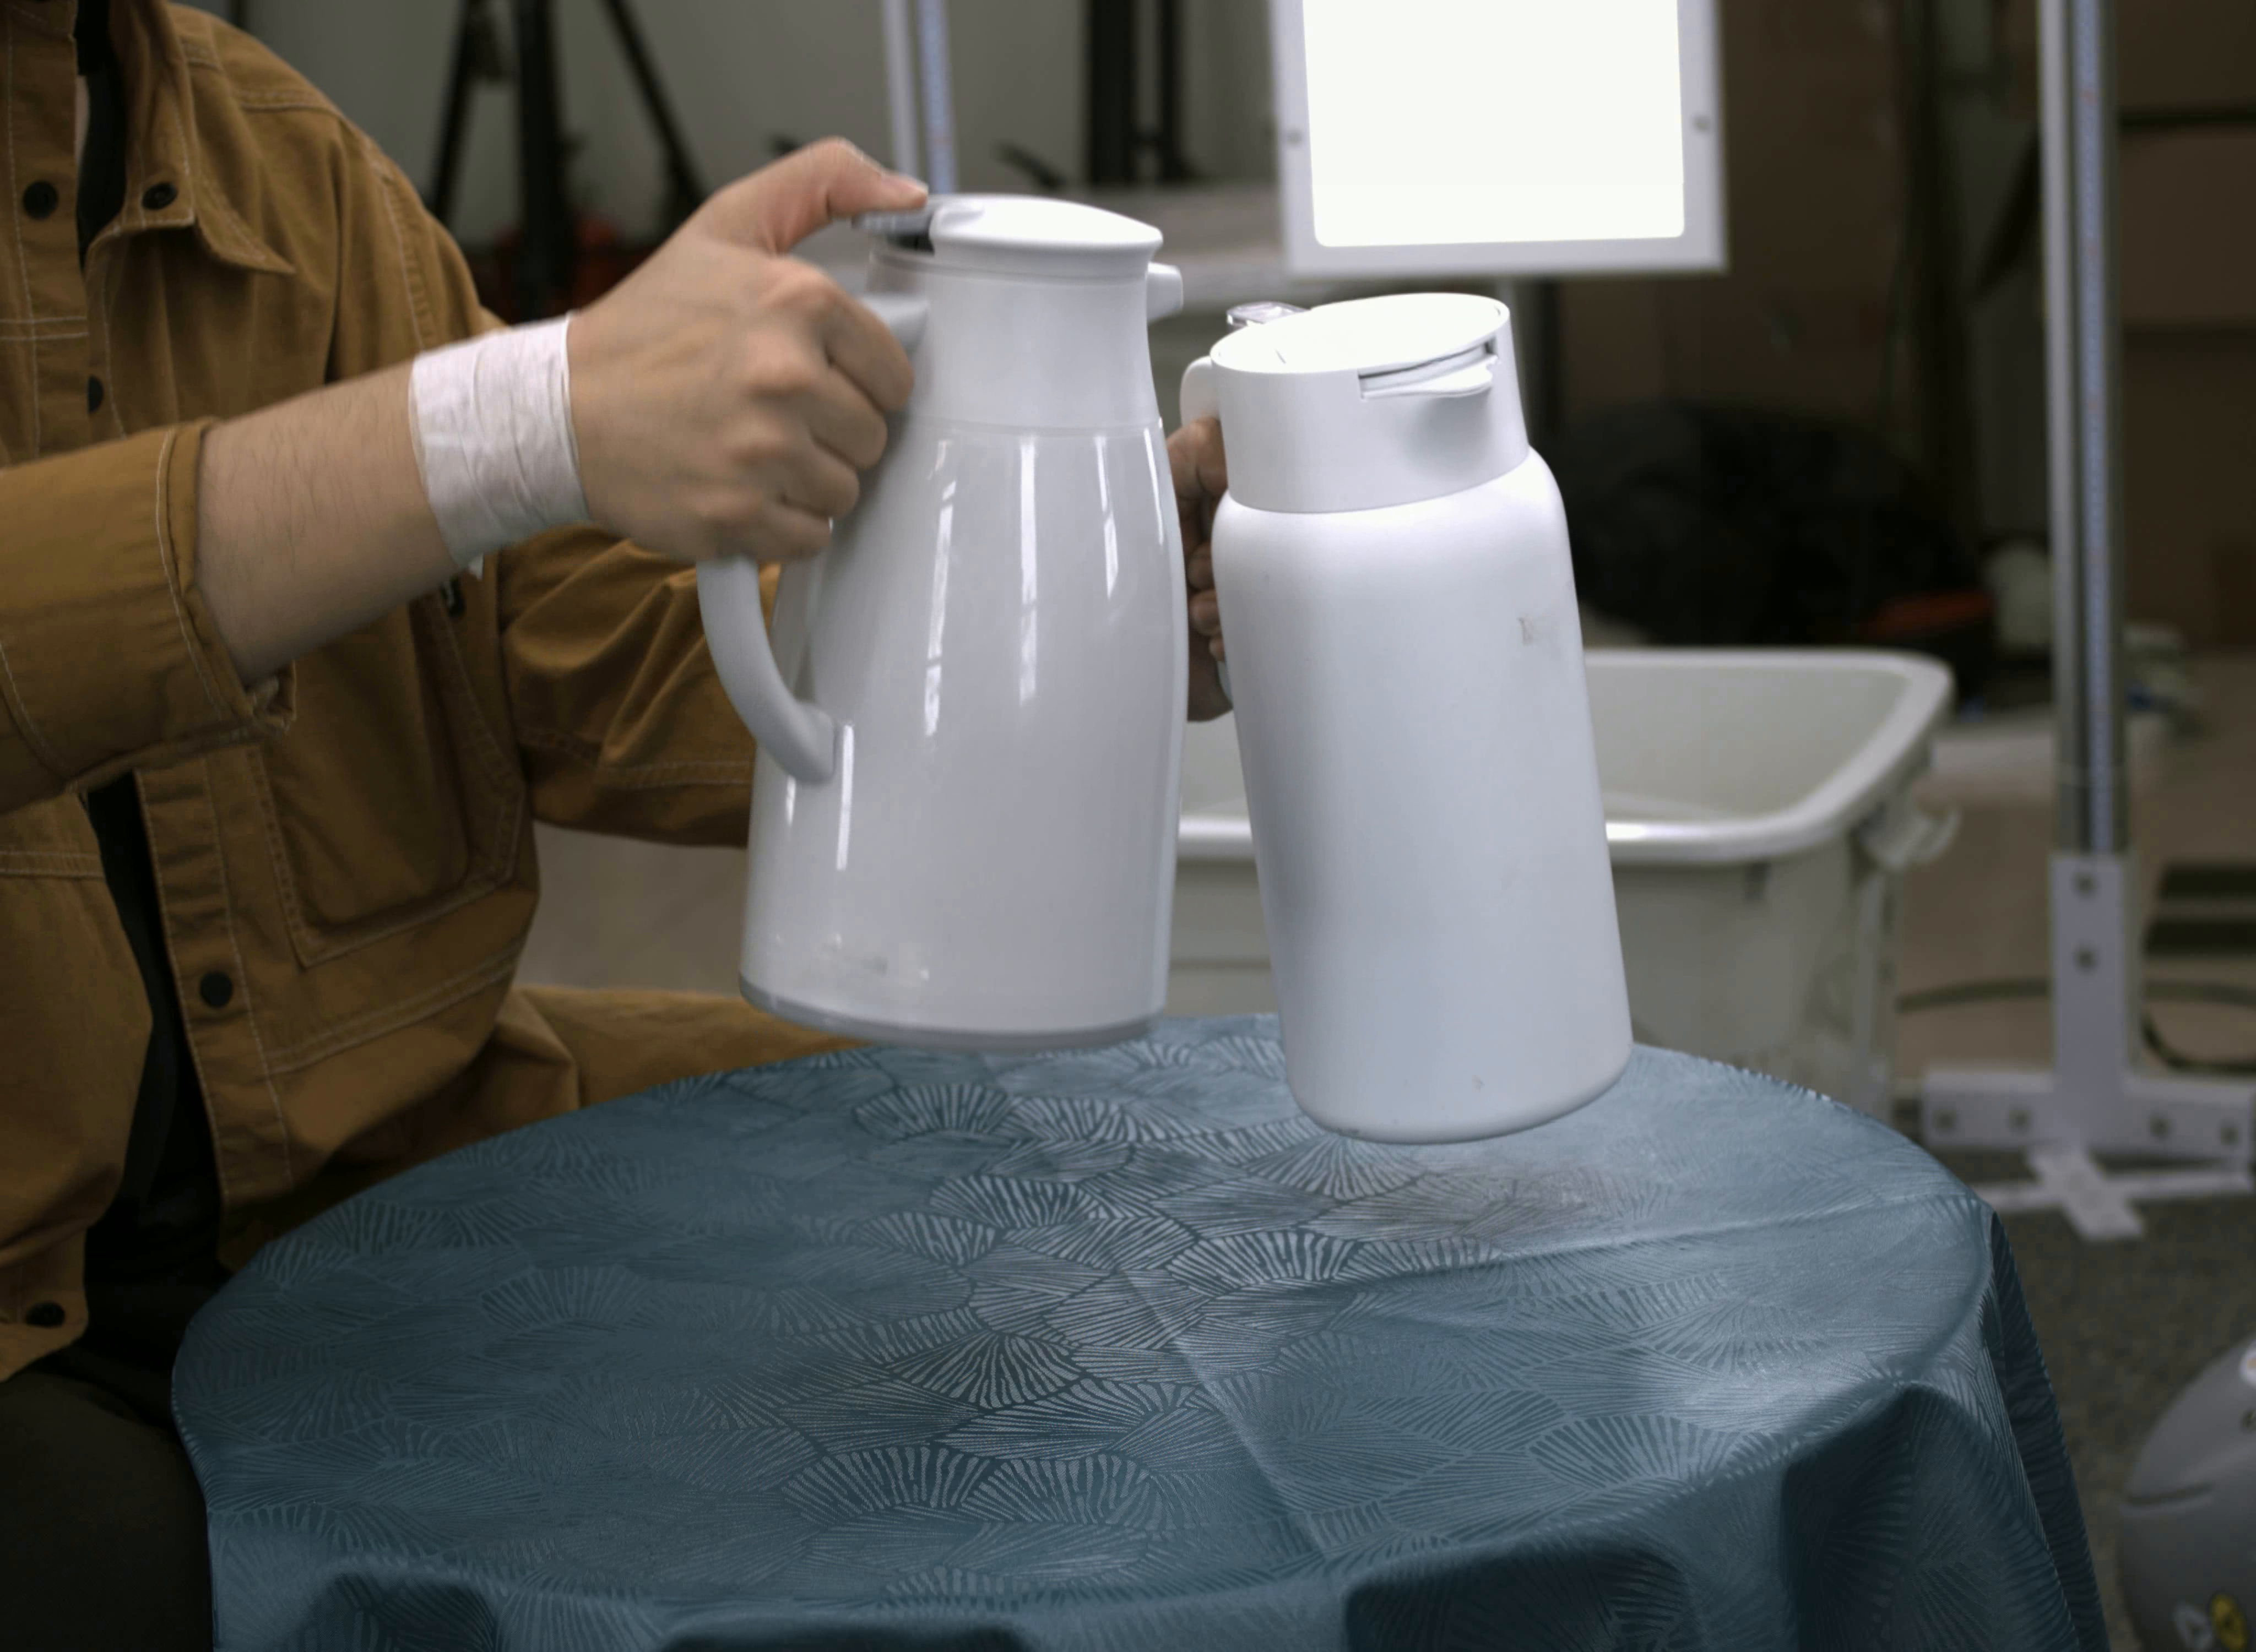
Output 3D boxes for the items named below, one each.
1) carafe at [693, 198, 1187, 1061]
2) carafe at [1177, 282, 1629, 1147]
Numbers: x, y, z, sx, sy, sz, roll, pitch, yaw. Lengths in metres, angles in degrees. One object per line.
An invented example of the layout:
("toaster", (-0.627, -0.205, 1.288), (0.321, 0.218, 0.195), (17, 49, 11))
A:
("carafe", (-0.058, -0.063, 1.652), (0.163, 0.250, 0.135), (-7, 16, -39))
("carafe", (0.083, -0.039, 1.823), (0.121, 0.269, 0.176), (-20, 20, -25))
